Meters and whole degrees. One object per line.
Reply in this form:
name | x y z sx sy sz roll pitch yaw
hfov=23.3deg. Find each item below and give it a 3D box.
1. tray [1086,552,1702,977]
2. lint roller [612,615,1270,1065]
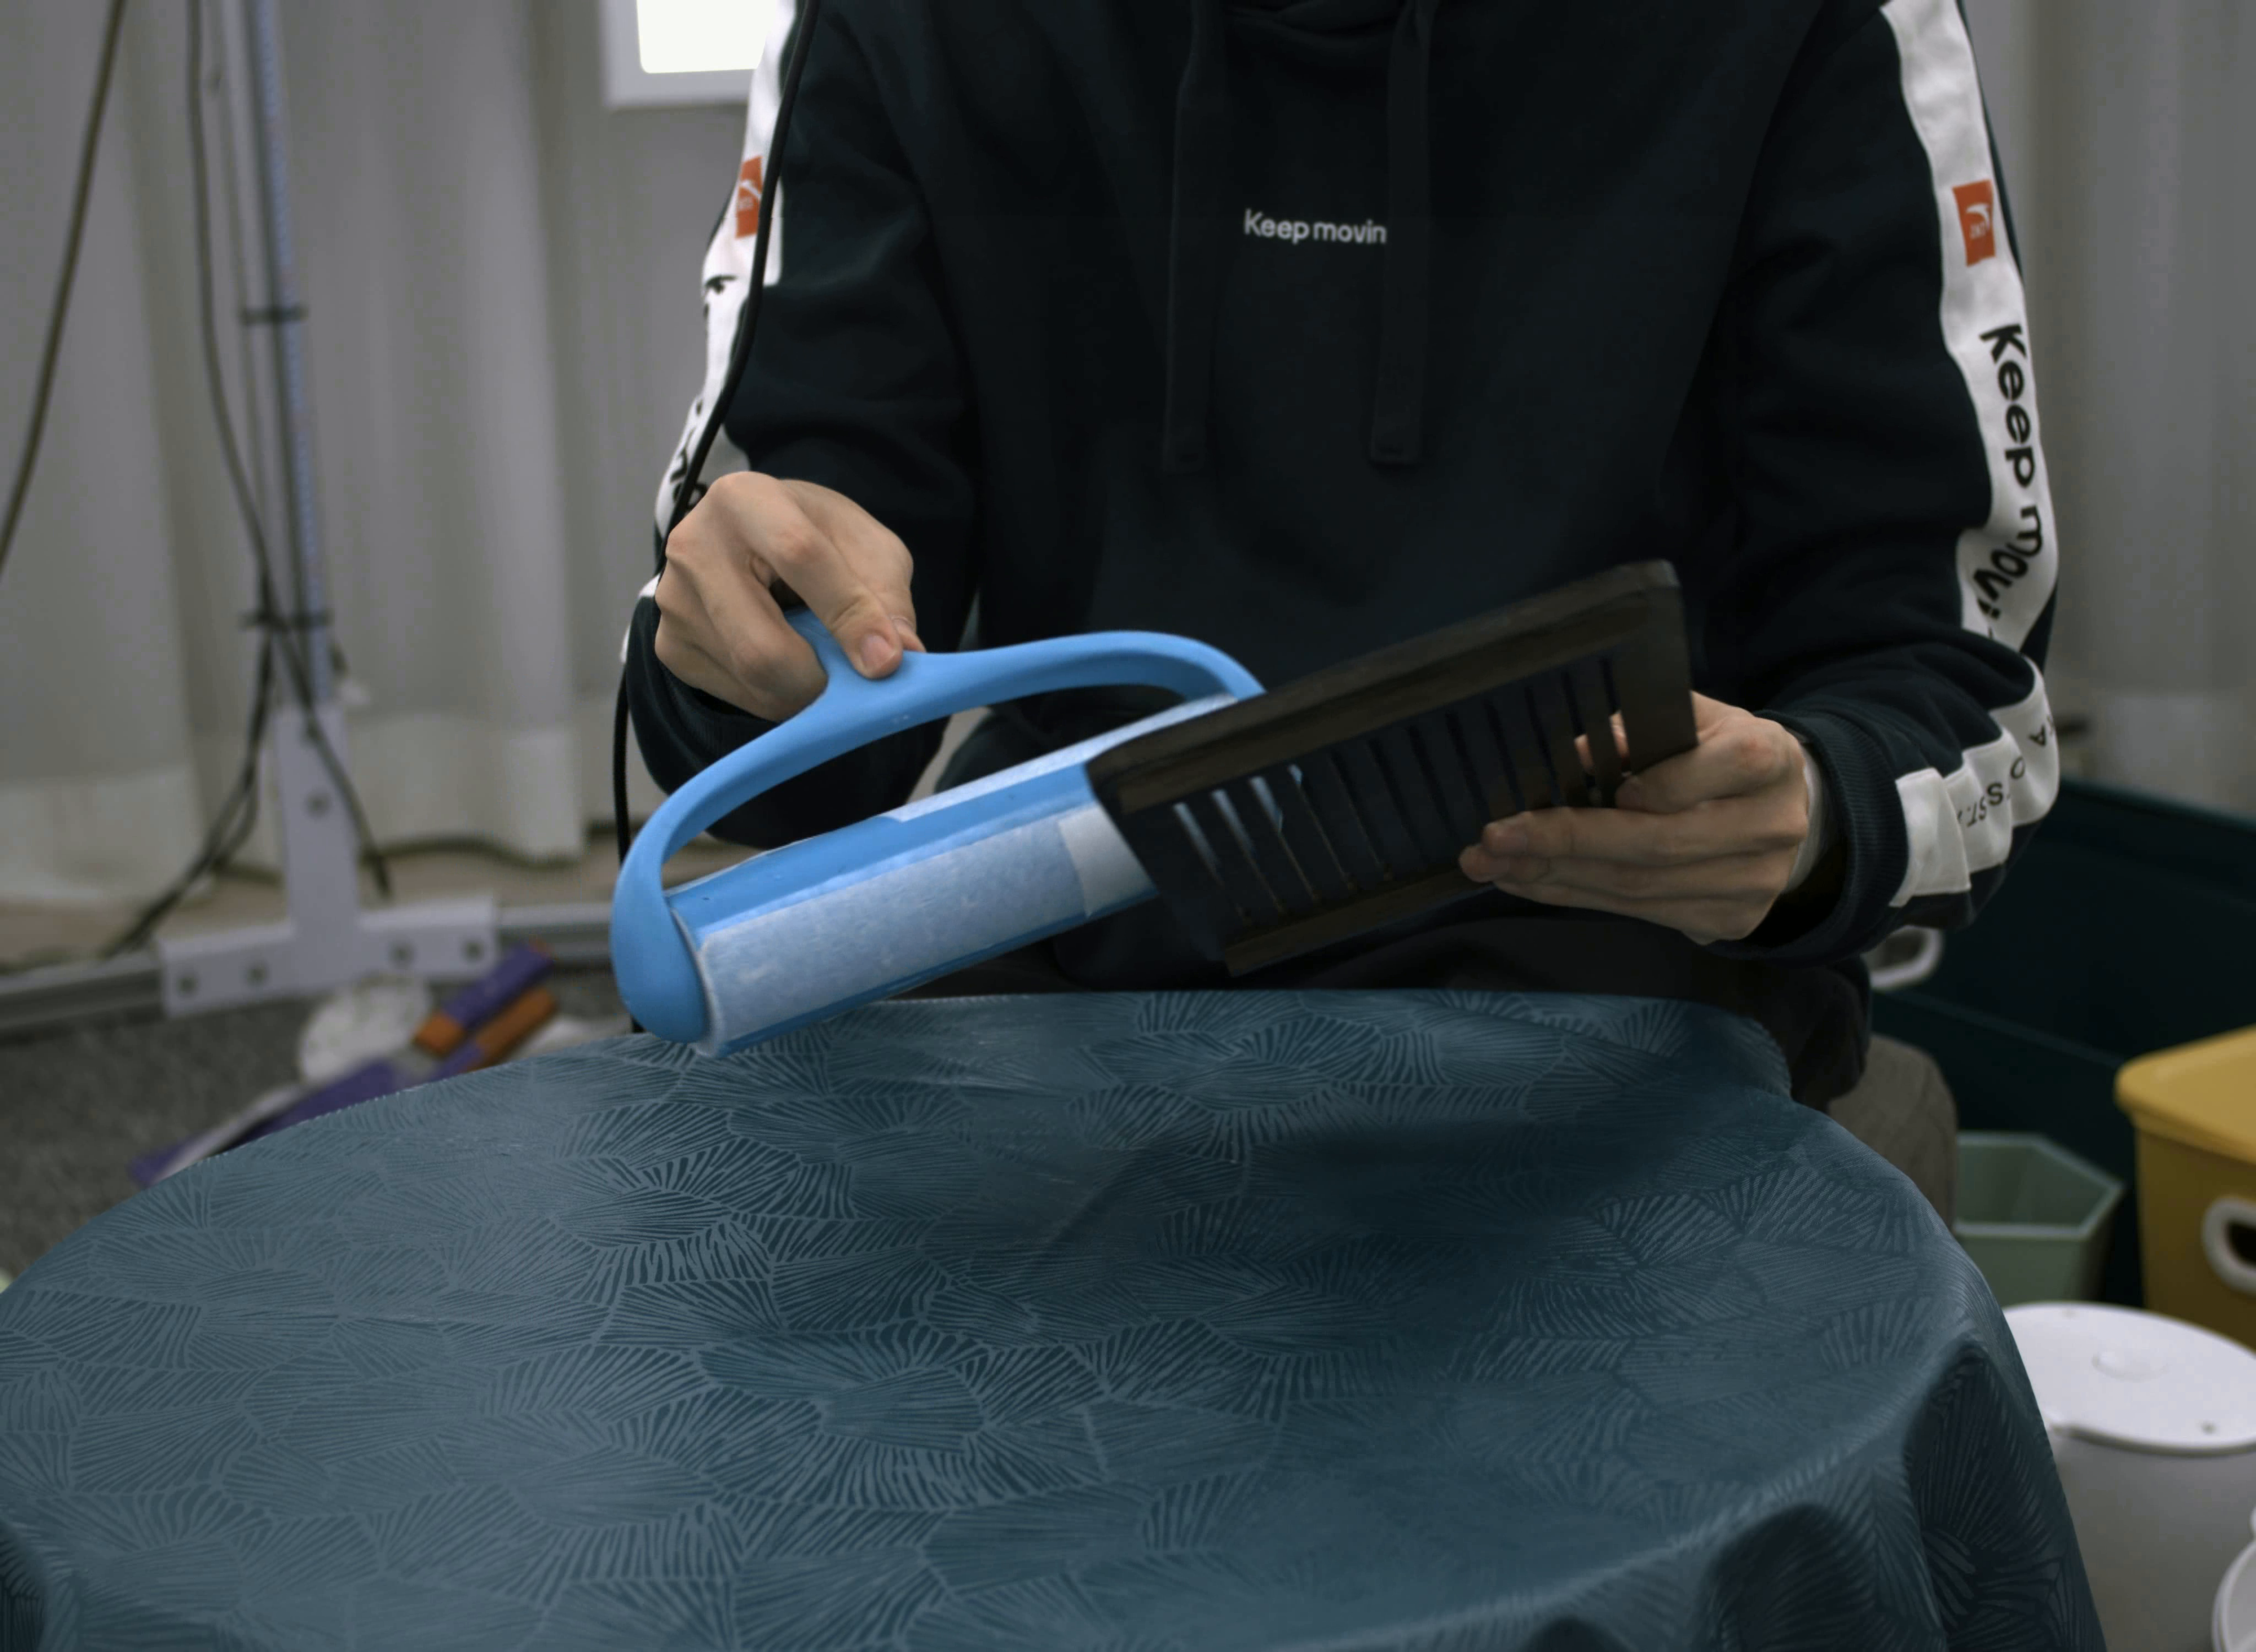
tray | 0.087 -0.011 1.617 0.169 0.019 0.304 -20 -13 3
lint roller | -0.079 -0.022 1.699 0.228 0.067 0.183 -22 49 -21
